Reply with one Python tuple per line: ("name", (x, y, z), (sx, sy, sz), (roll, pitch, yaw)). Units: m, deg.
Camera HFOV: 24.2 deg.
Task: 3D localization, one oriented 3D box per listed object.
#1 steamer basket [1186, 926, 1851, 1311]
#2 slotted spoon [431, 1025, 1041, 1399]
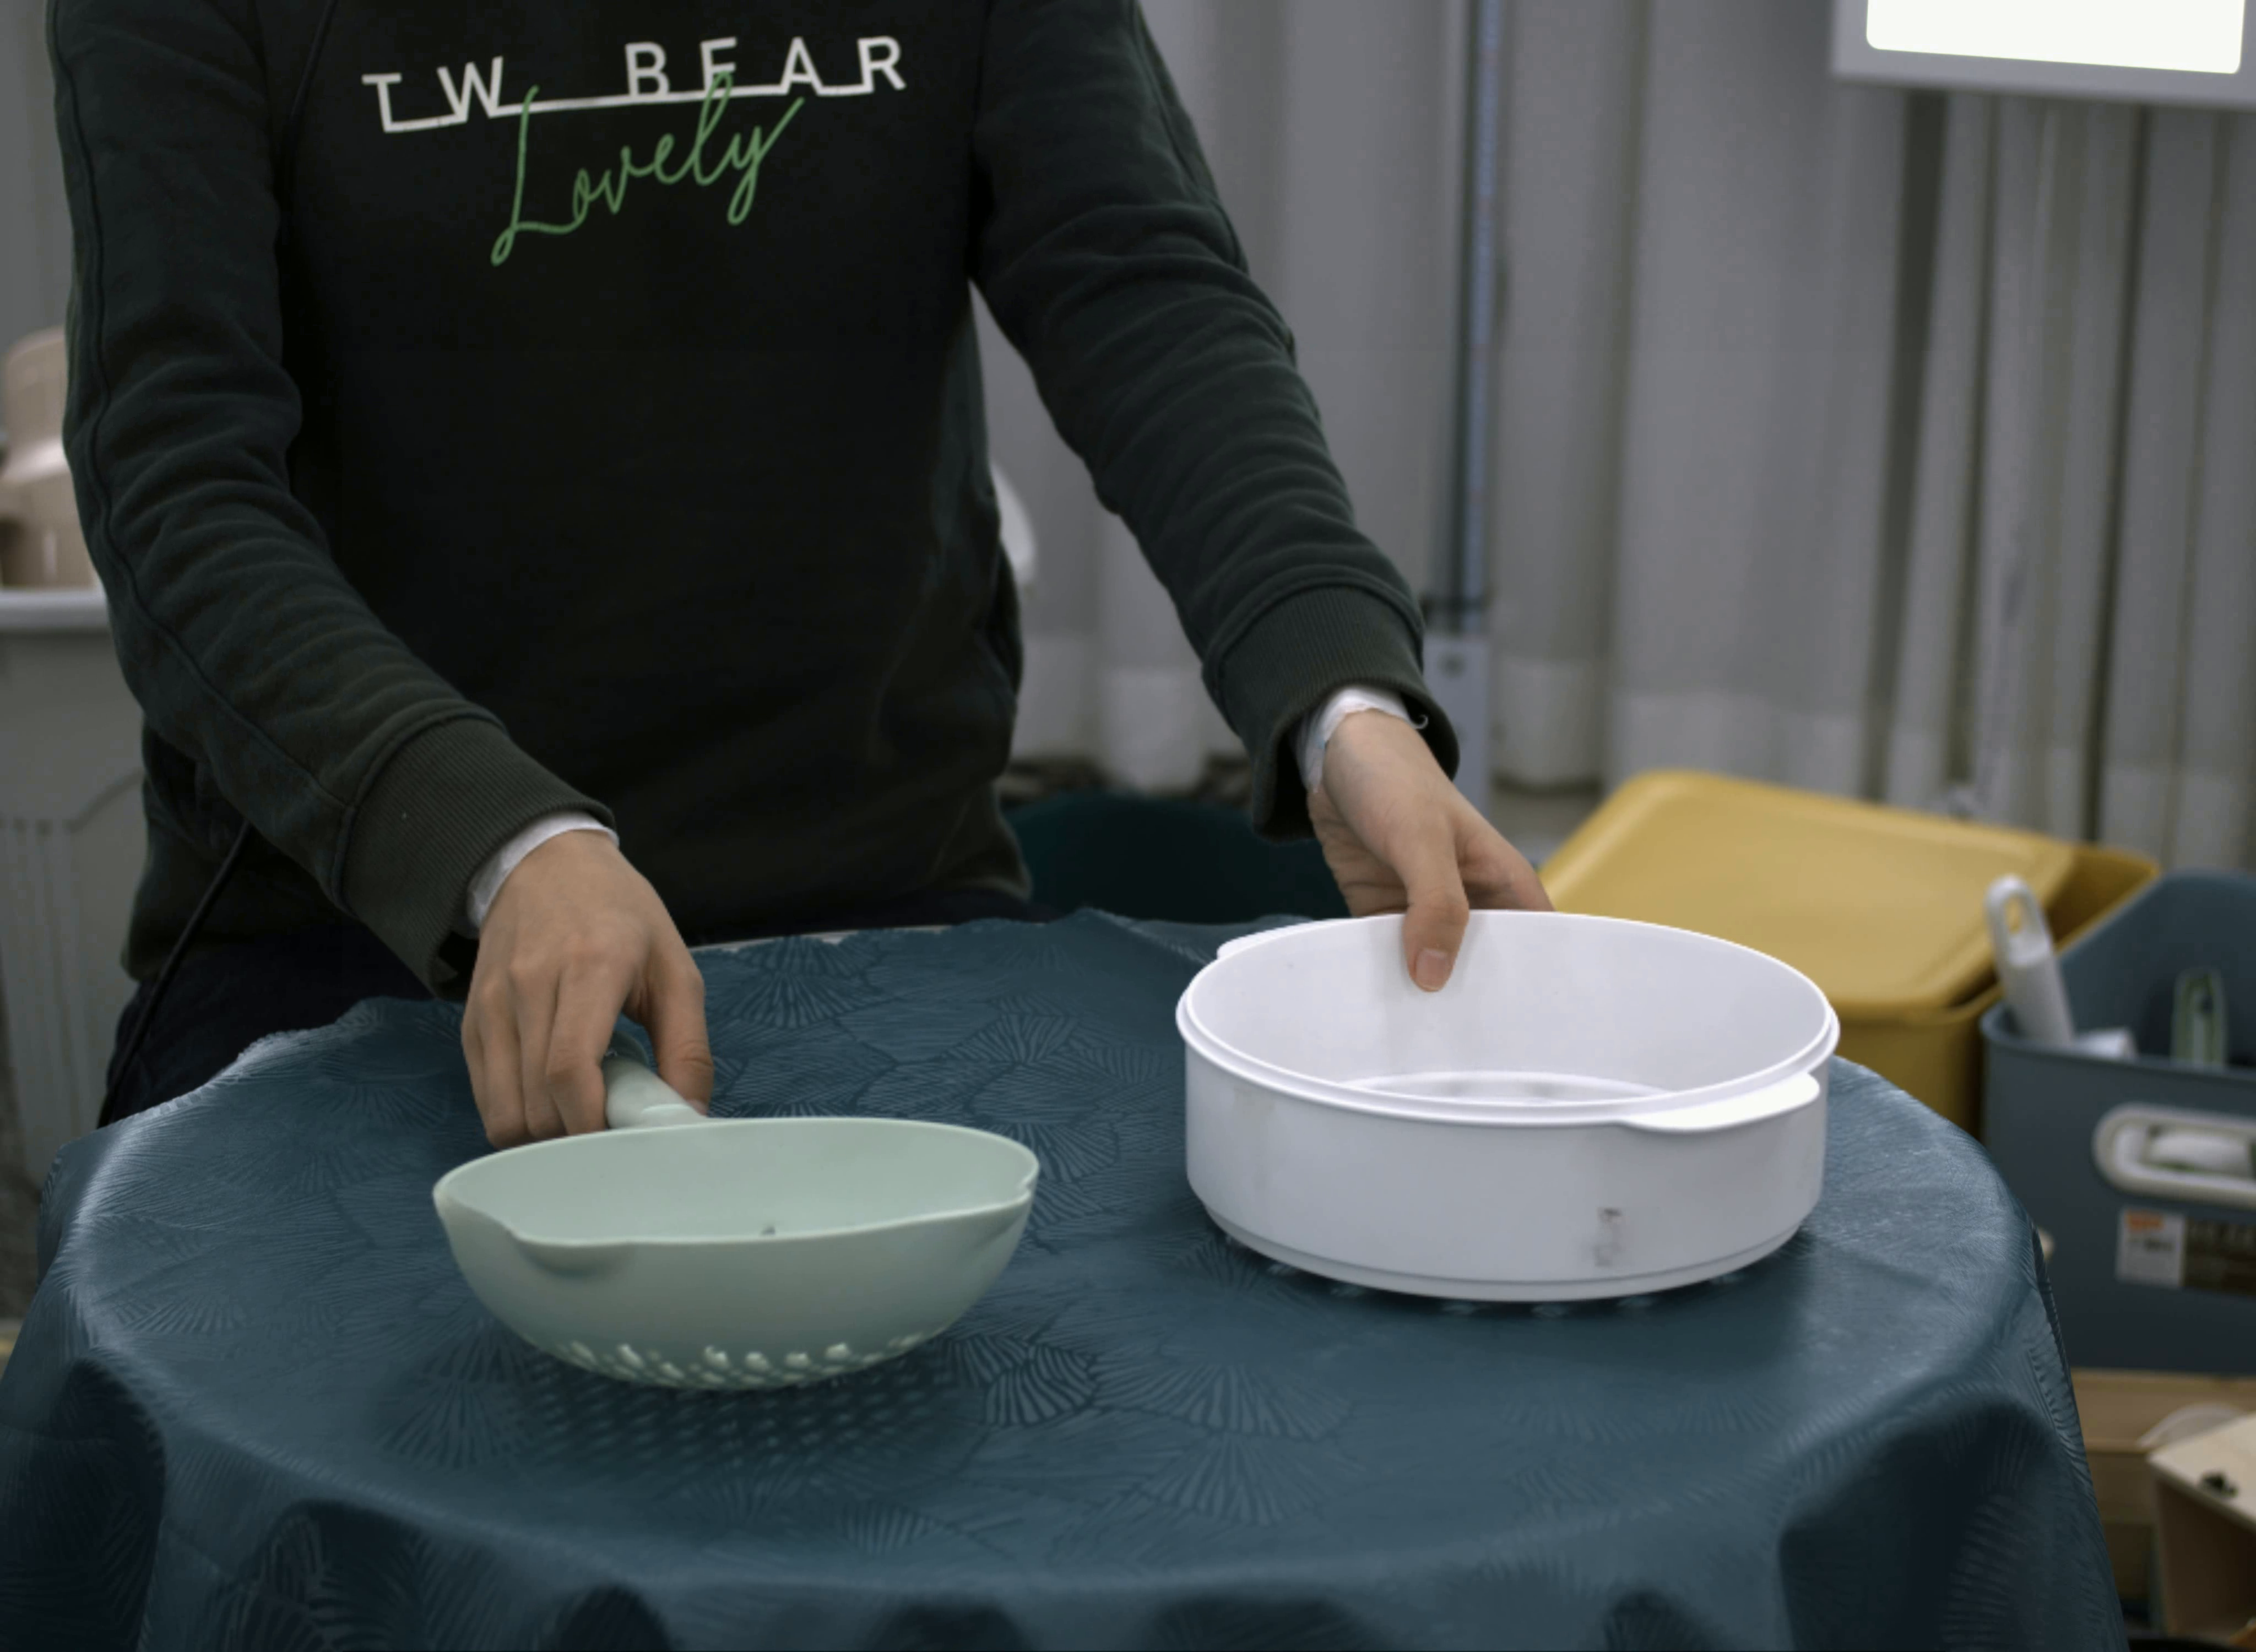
("steamer basket", (0.117, 0.088, 1.599), (0.203, 0.070, 0.227), (-10, 19, -37))
("slotted spoon", (-0.133, 0.097, 1.555), (0.169, 0.076, 0.355), (-4, 17, -15))
